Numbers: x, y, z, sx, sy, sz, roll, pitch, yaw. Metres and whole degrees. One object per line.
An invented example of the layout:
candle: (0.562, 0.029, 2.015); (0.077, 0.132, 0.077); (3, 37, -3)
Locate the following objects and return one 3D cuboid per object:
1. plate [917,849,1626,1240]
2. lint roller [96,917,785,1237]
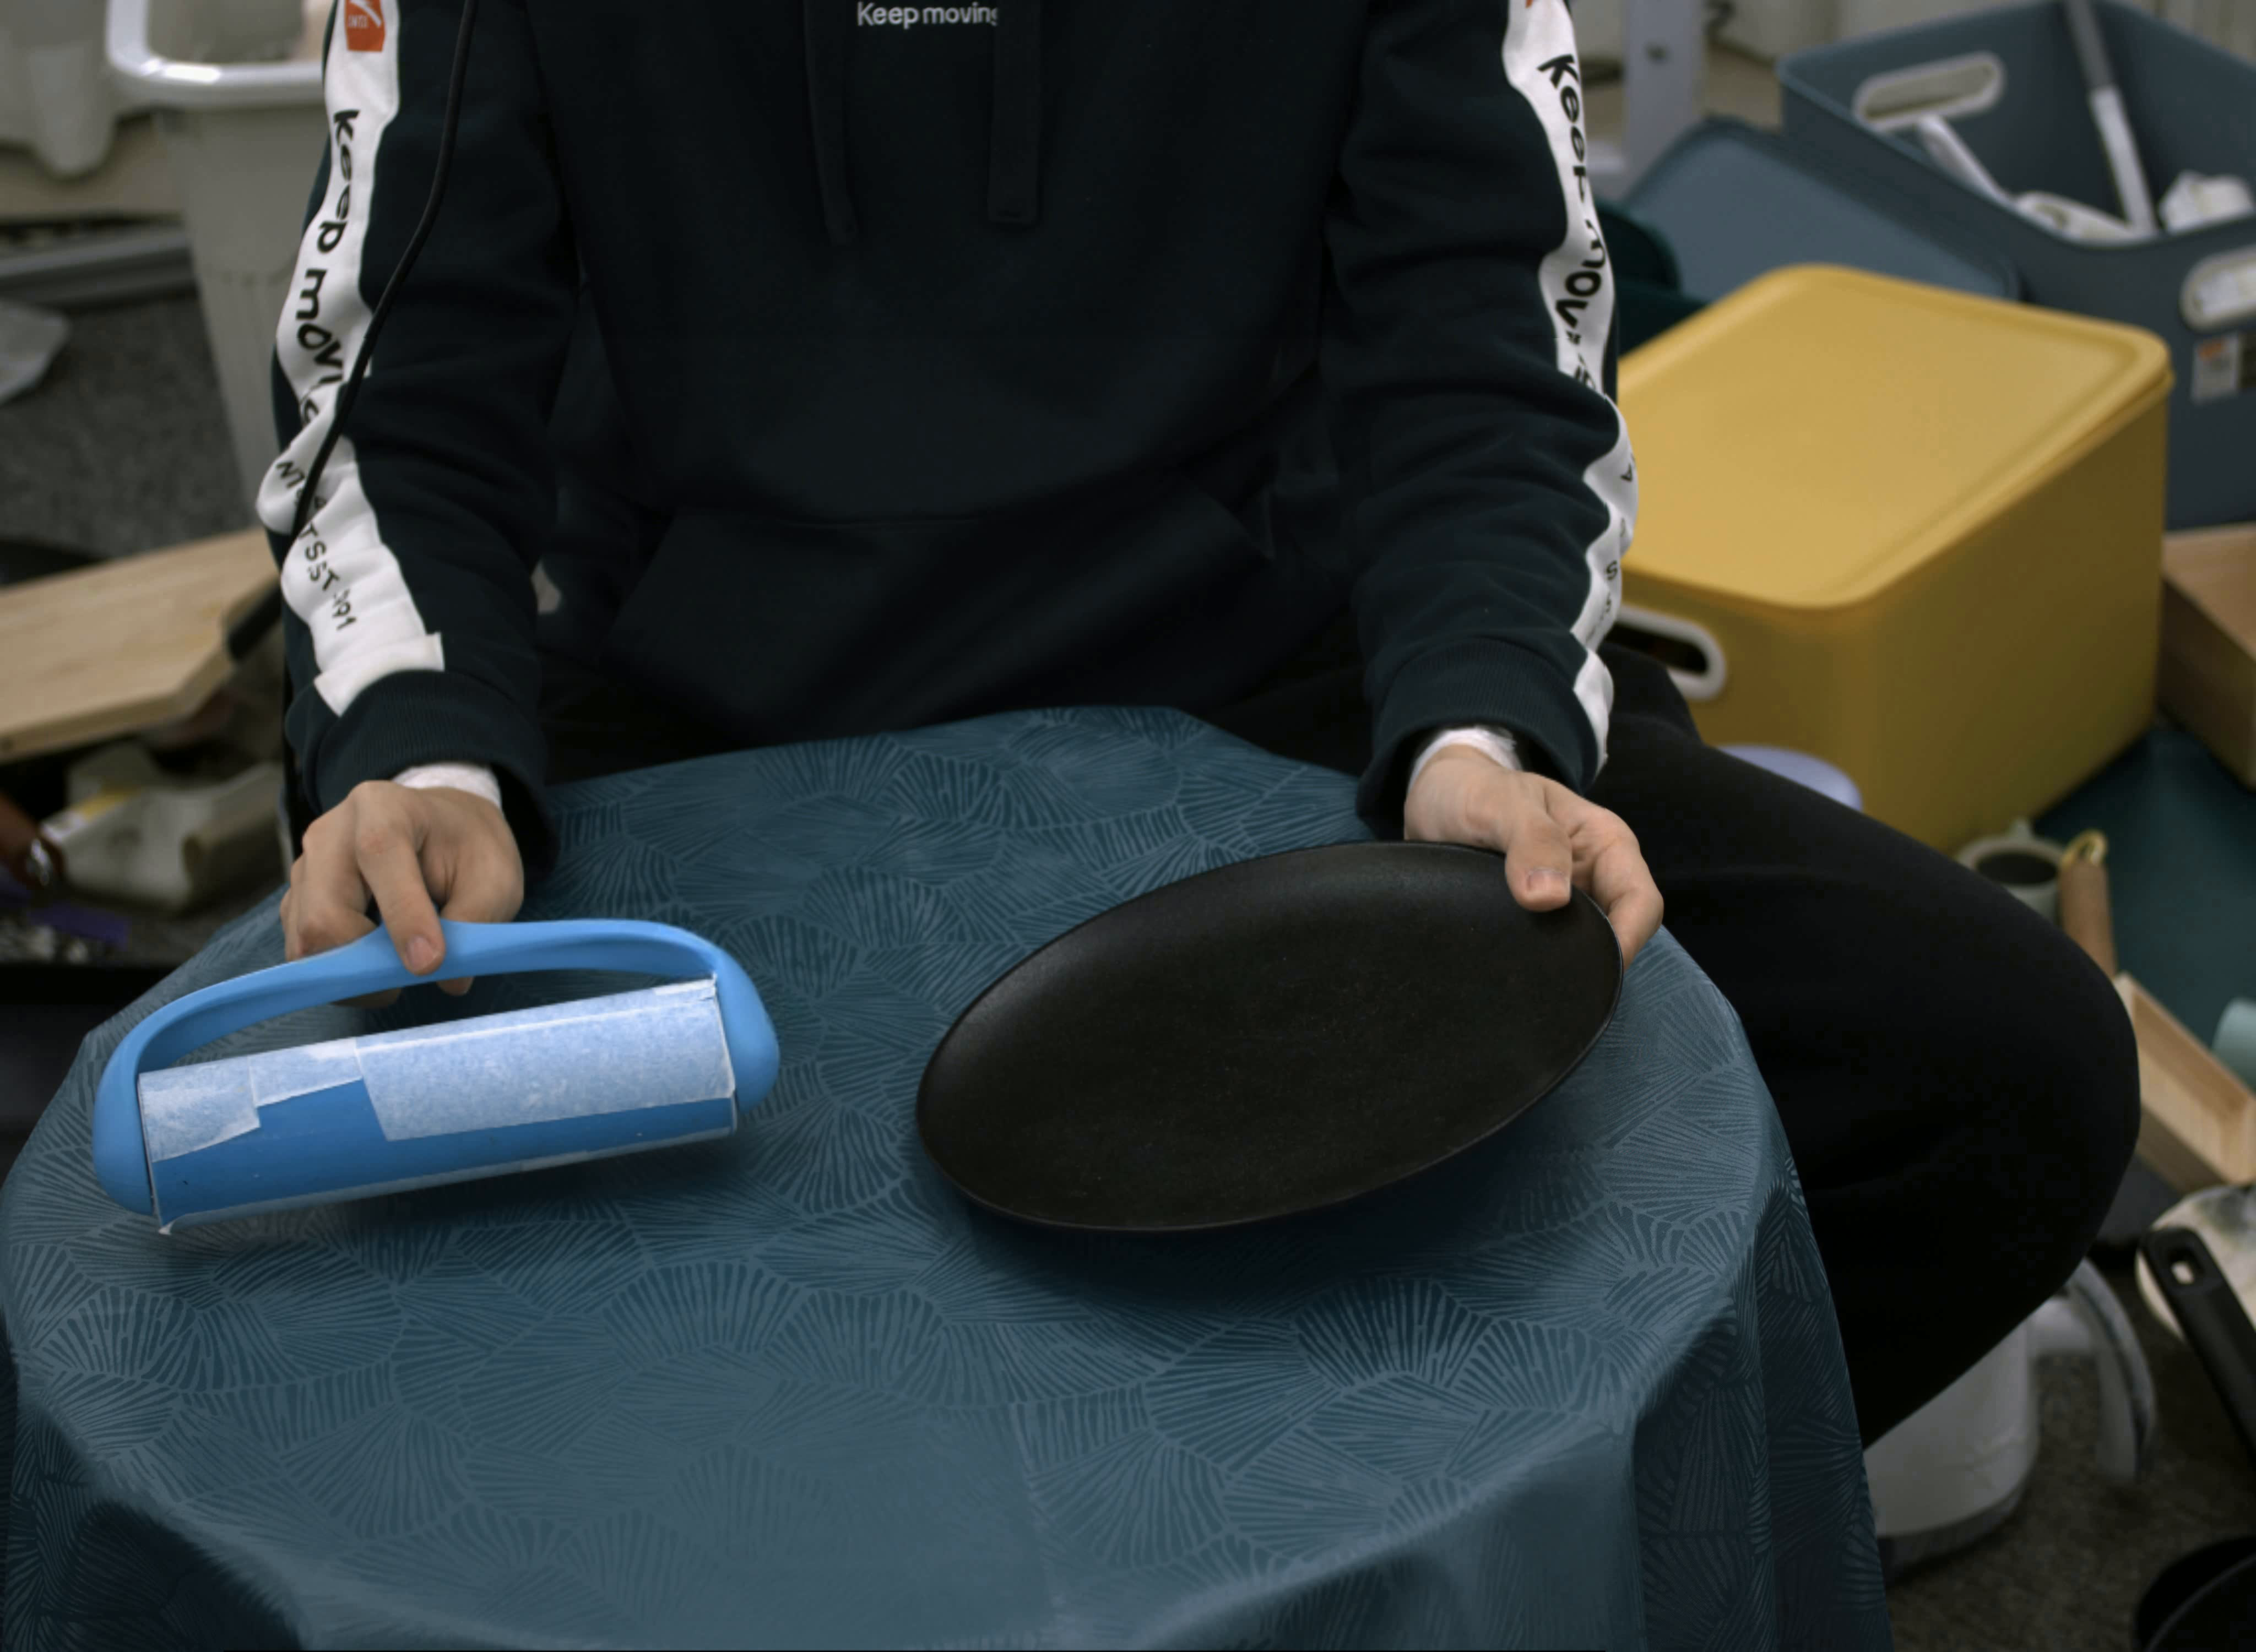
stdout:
plate: (0.049, 0.077, 1.880); (0.243, 0.023, 0.248); (-12, 26, 6)
lint roller: (-0.242, 0.066, 1.909); (0.229, 0.067, 0.182); (-12, 29, -12)
